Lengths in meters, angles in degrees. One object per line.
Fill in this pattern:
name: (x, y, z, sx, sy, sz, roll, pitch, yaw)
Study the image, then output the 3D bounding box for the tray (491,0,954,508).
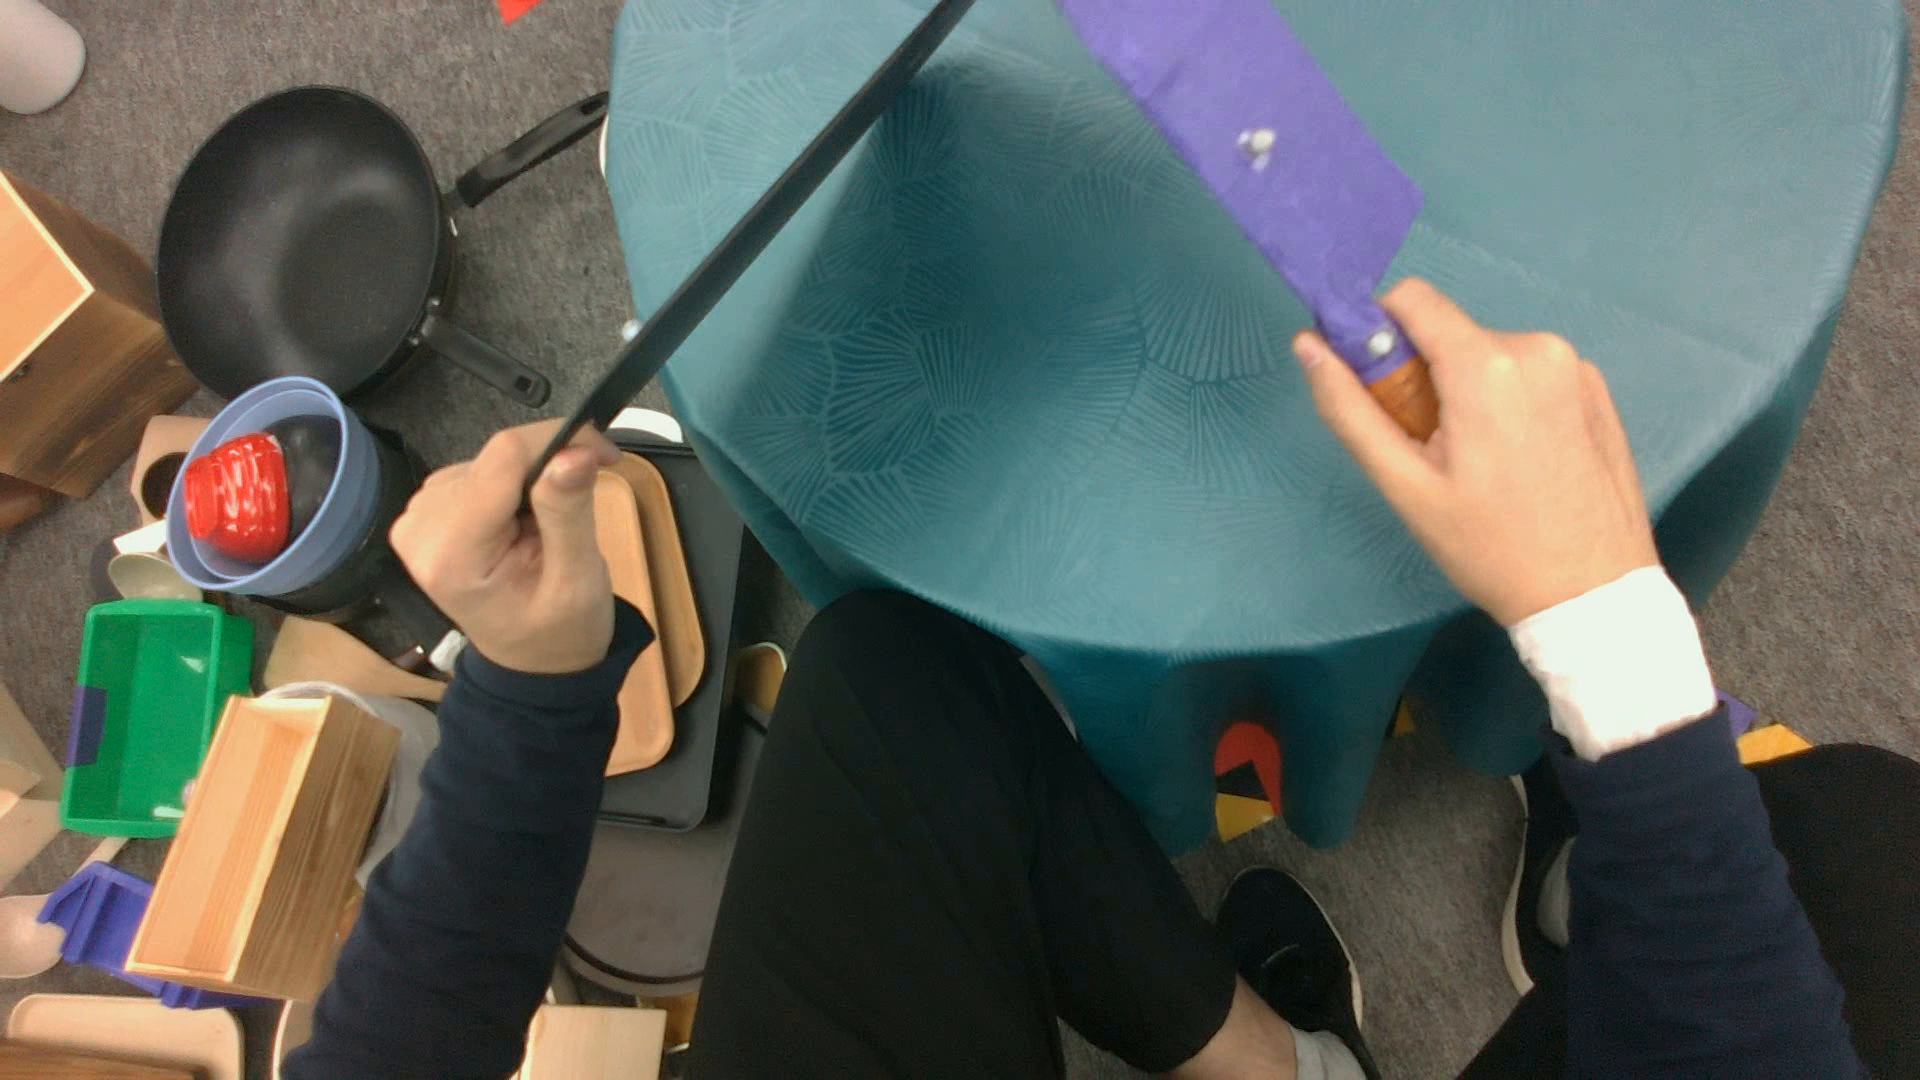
tray: (-0.074, -0.139, 0.541, 0.010, 0.210, 0.326, 41, 71, -13)

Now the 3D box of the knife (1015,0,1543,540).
knife: (0.110, -0.135, 0.486, 0.315, 0.032, 0.104, 44, 55, -15)
